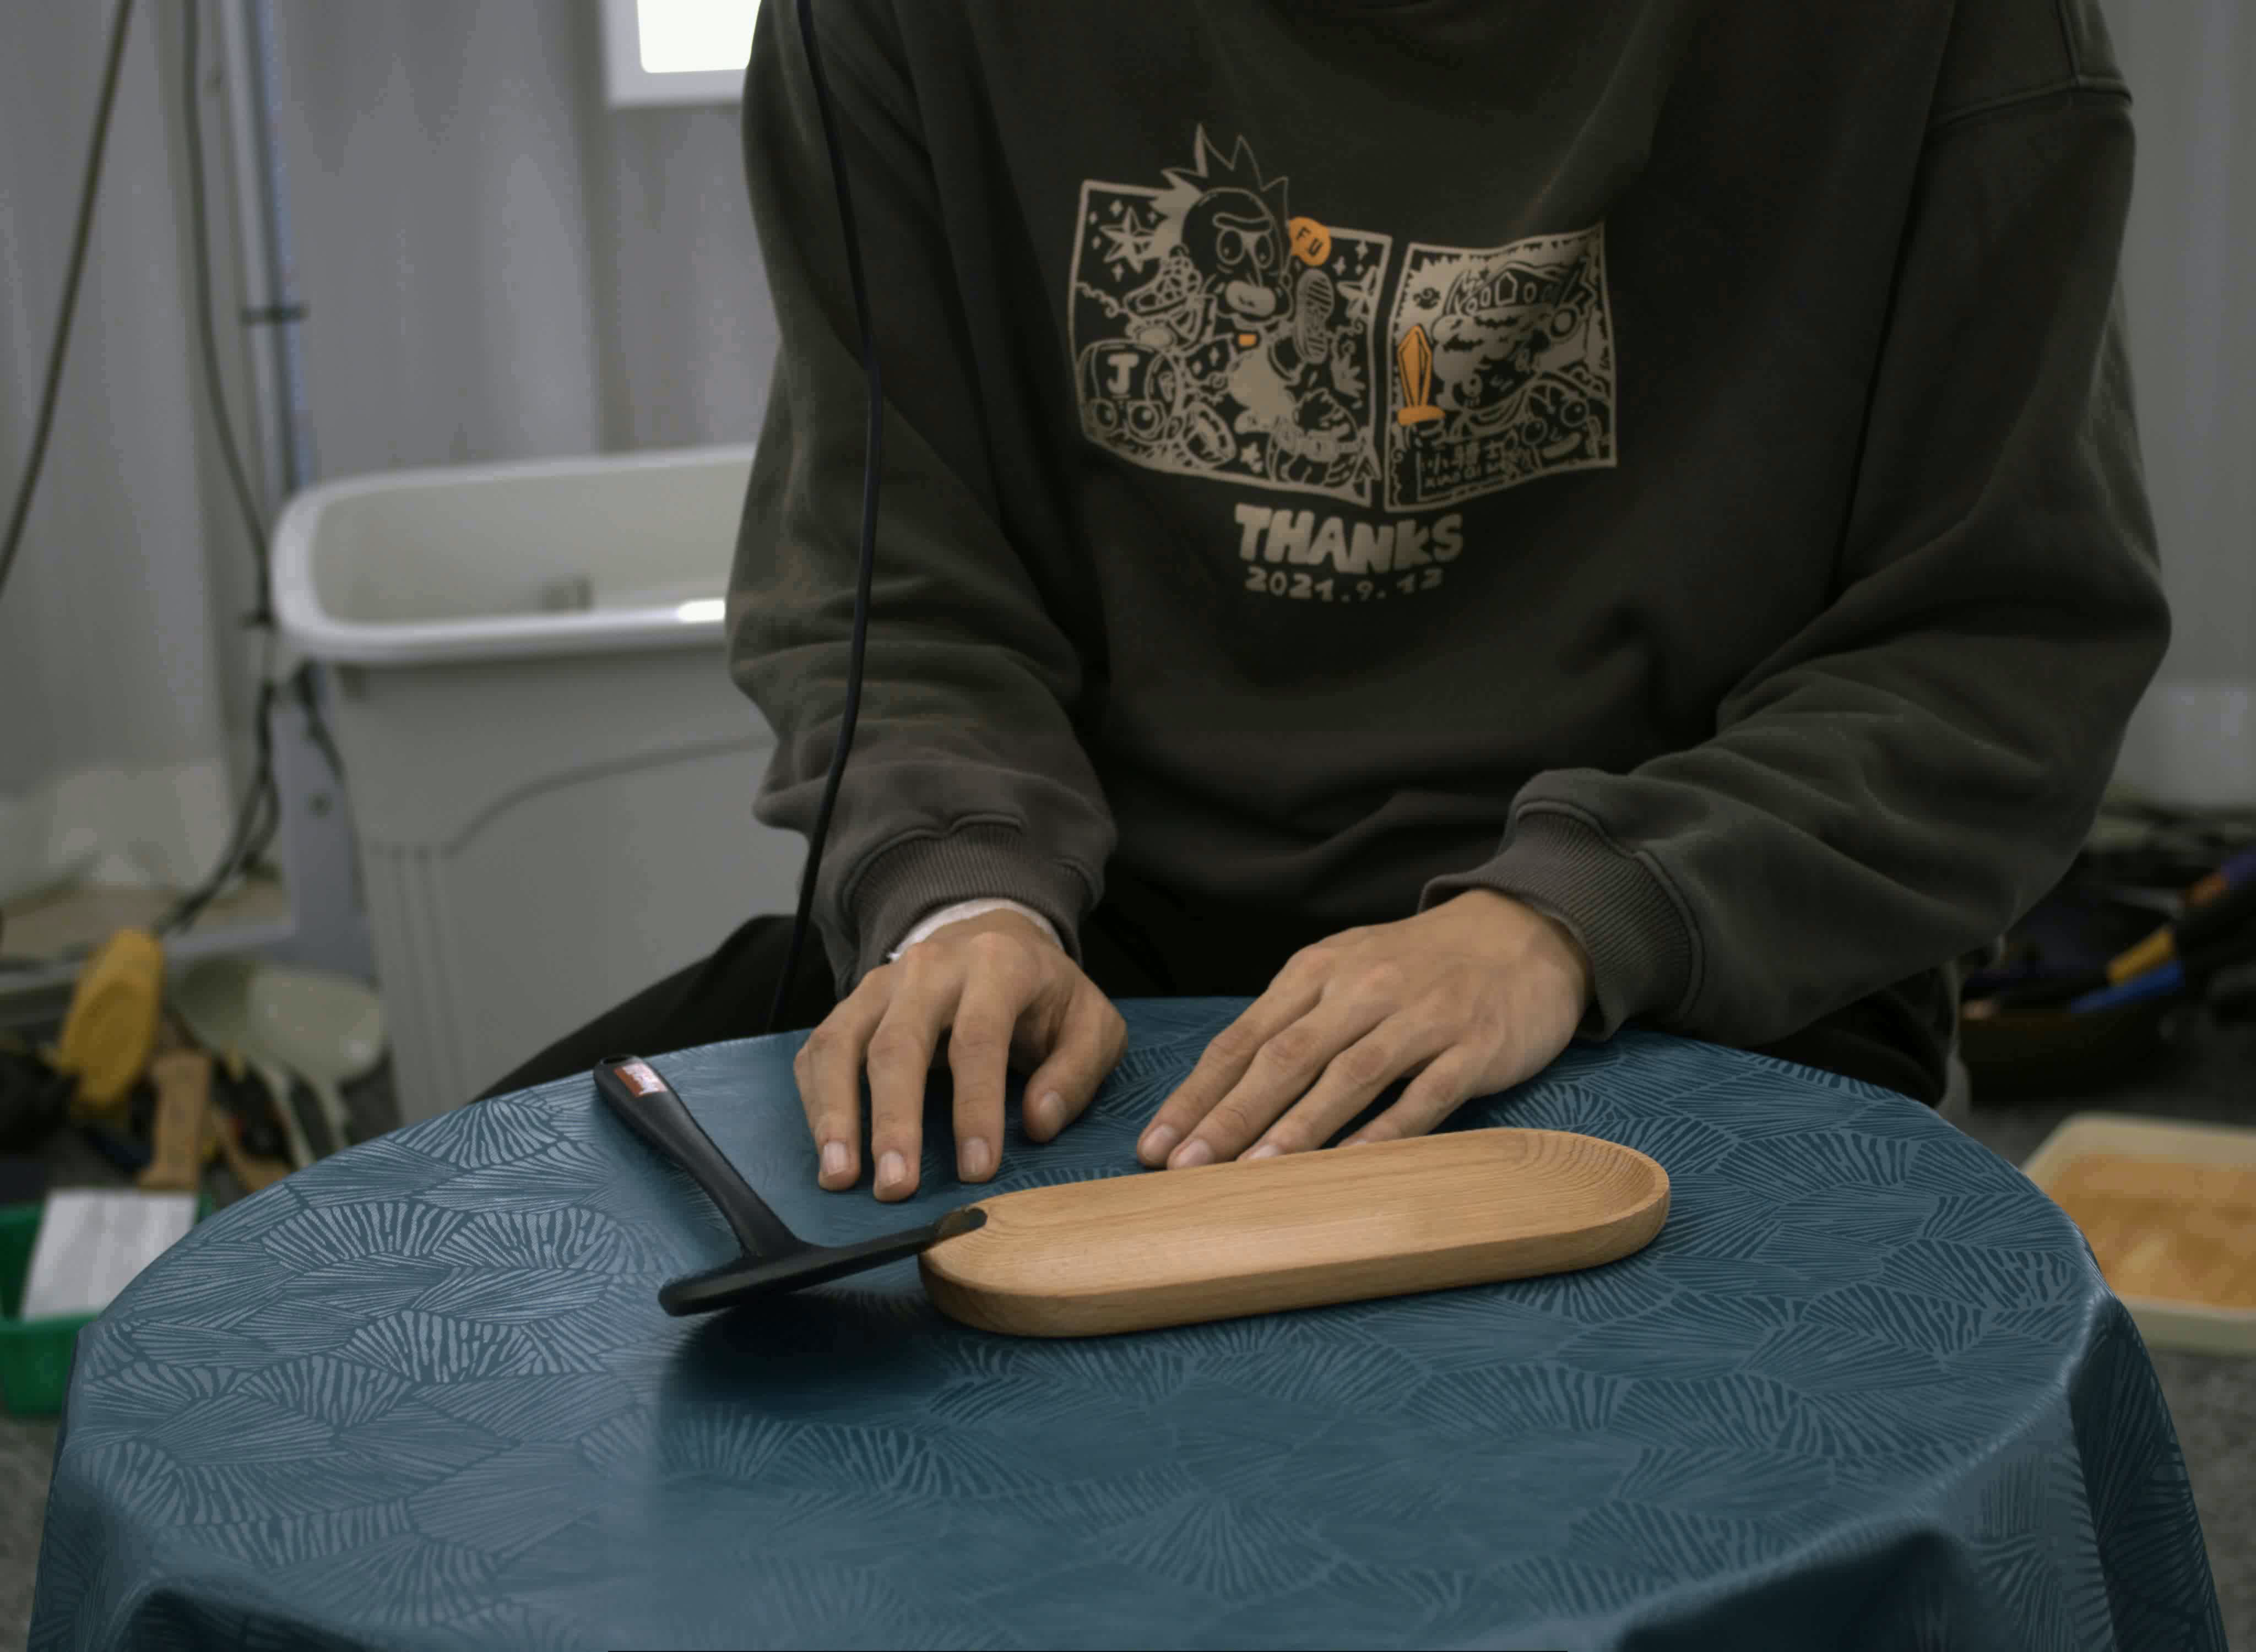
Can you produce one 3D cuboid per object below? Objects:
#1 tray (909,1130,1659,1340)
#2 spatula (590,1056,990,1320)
[{"bbox_3d":[0.048,0.124,1.649,0.230,0.020,0.102,-8,15,-12],"label":"tray"},{"bbox_3d":[-0.129,0.105,1.712,0.099,0.040,0.329,-12,17,-15],"label":"spatula"}]
